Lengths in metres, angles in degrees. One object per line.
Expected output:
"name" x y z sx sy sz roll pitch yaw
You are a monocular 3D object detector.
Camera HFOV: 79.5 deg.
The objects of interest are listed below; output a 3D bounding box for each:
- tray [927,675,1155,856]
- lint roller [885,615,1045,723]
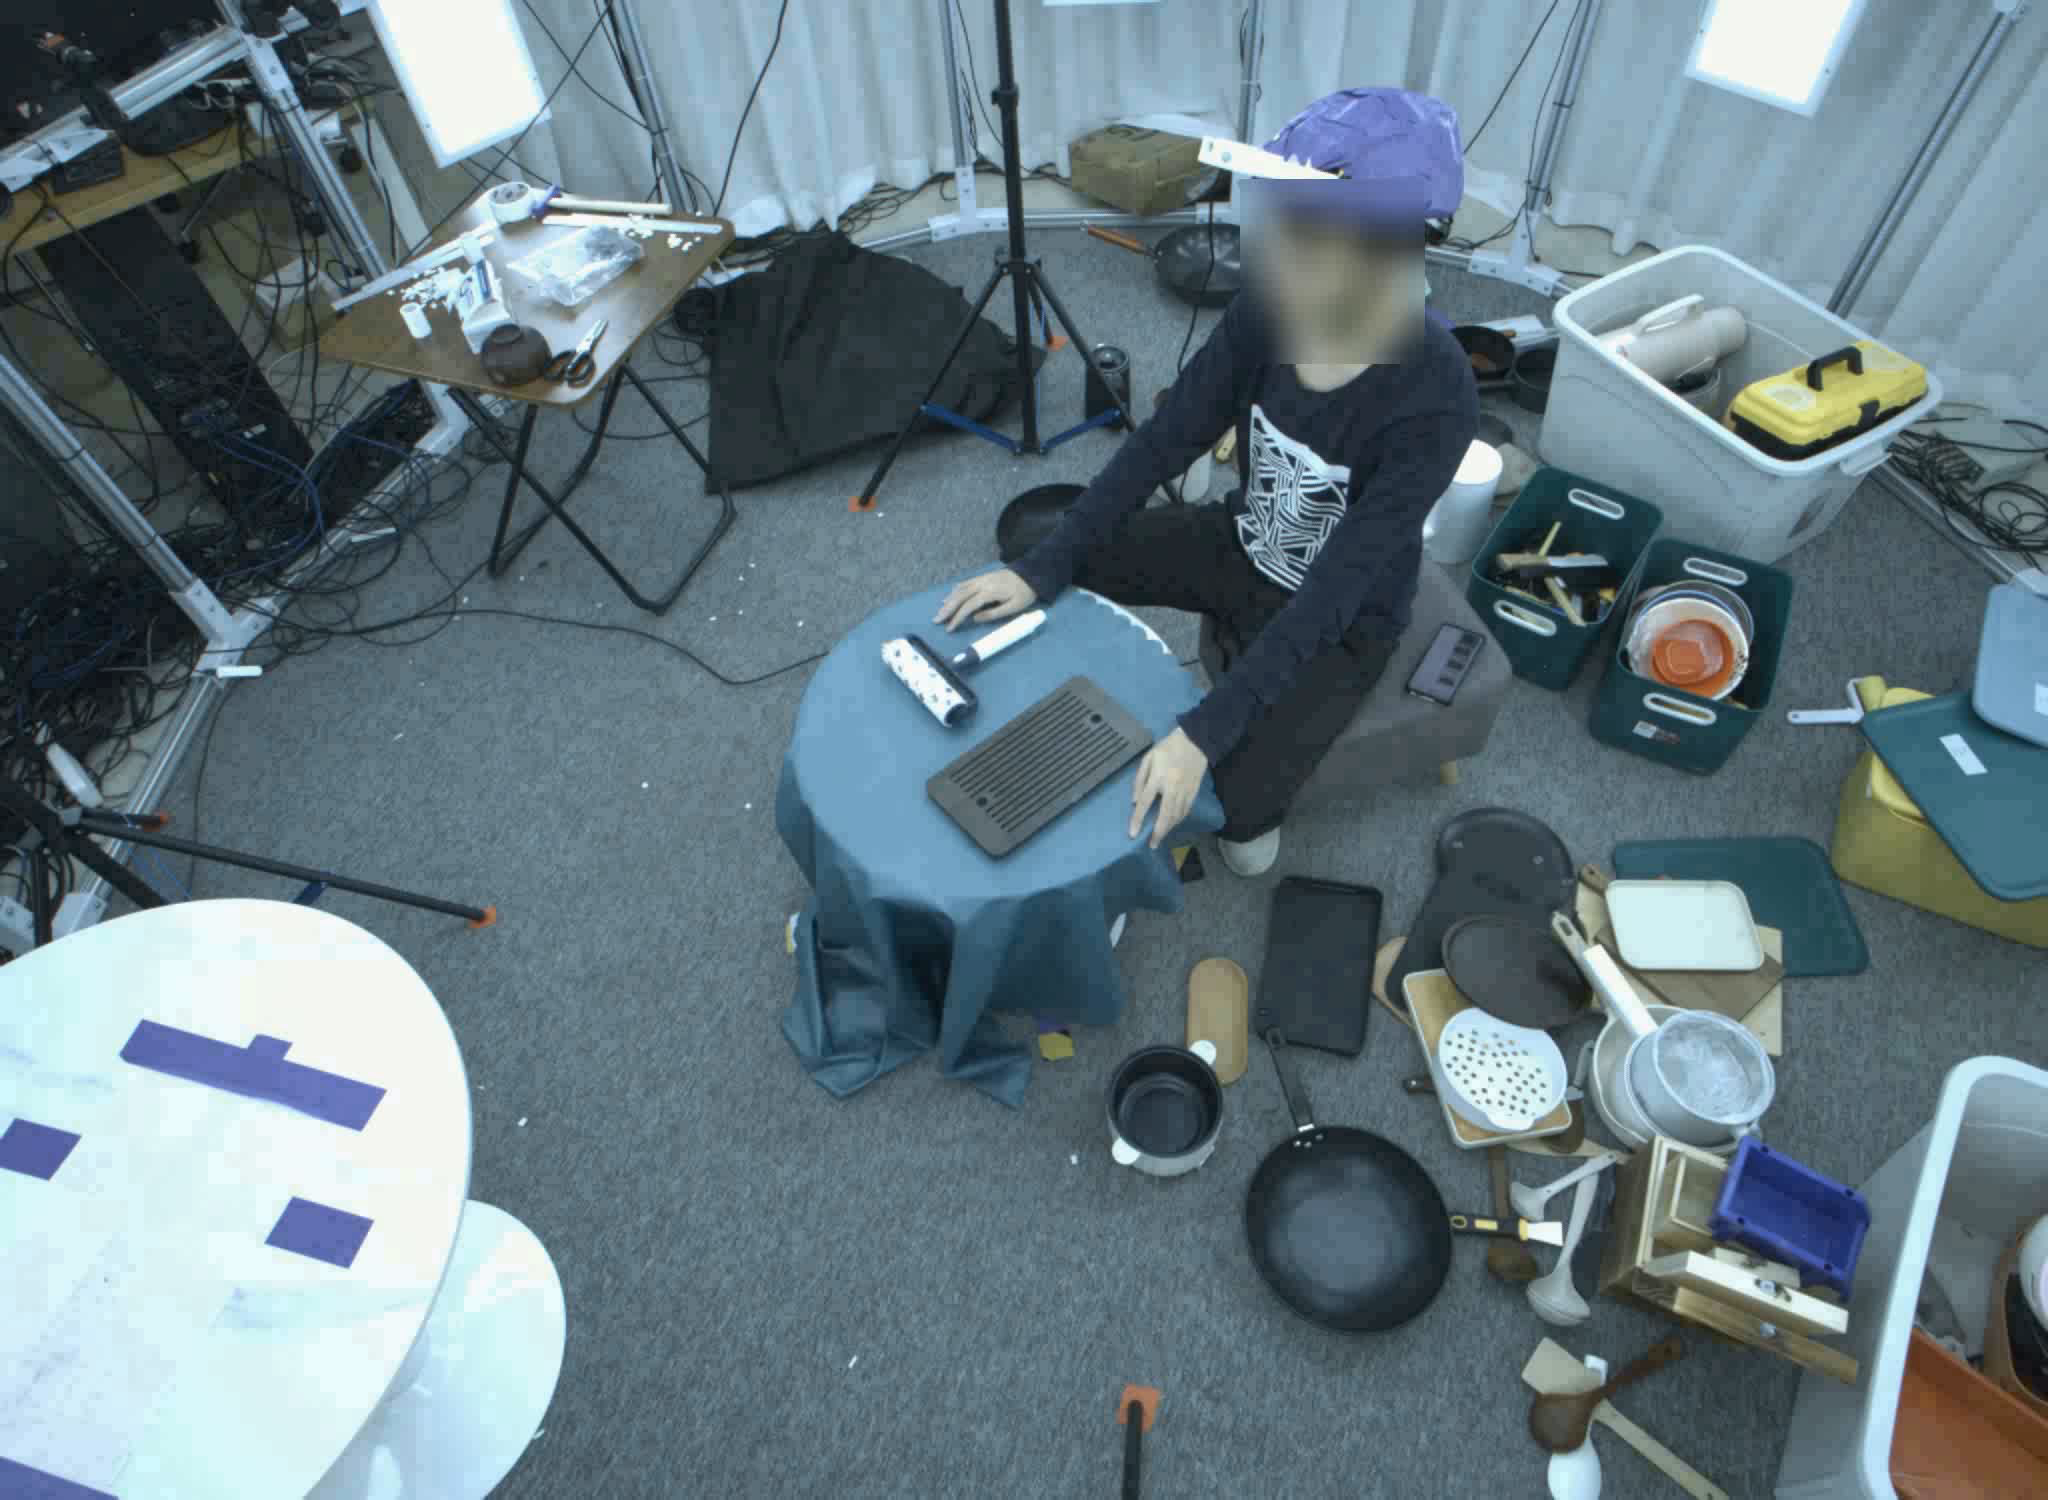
"tray" 0.026 0.019 1.770 0.308 0.019 0.167 -35 60 -22
"lint roller" -0.070 -0.154 1.883 0.249 0.051 0.173 -32 59 -23
